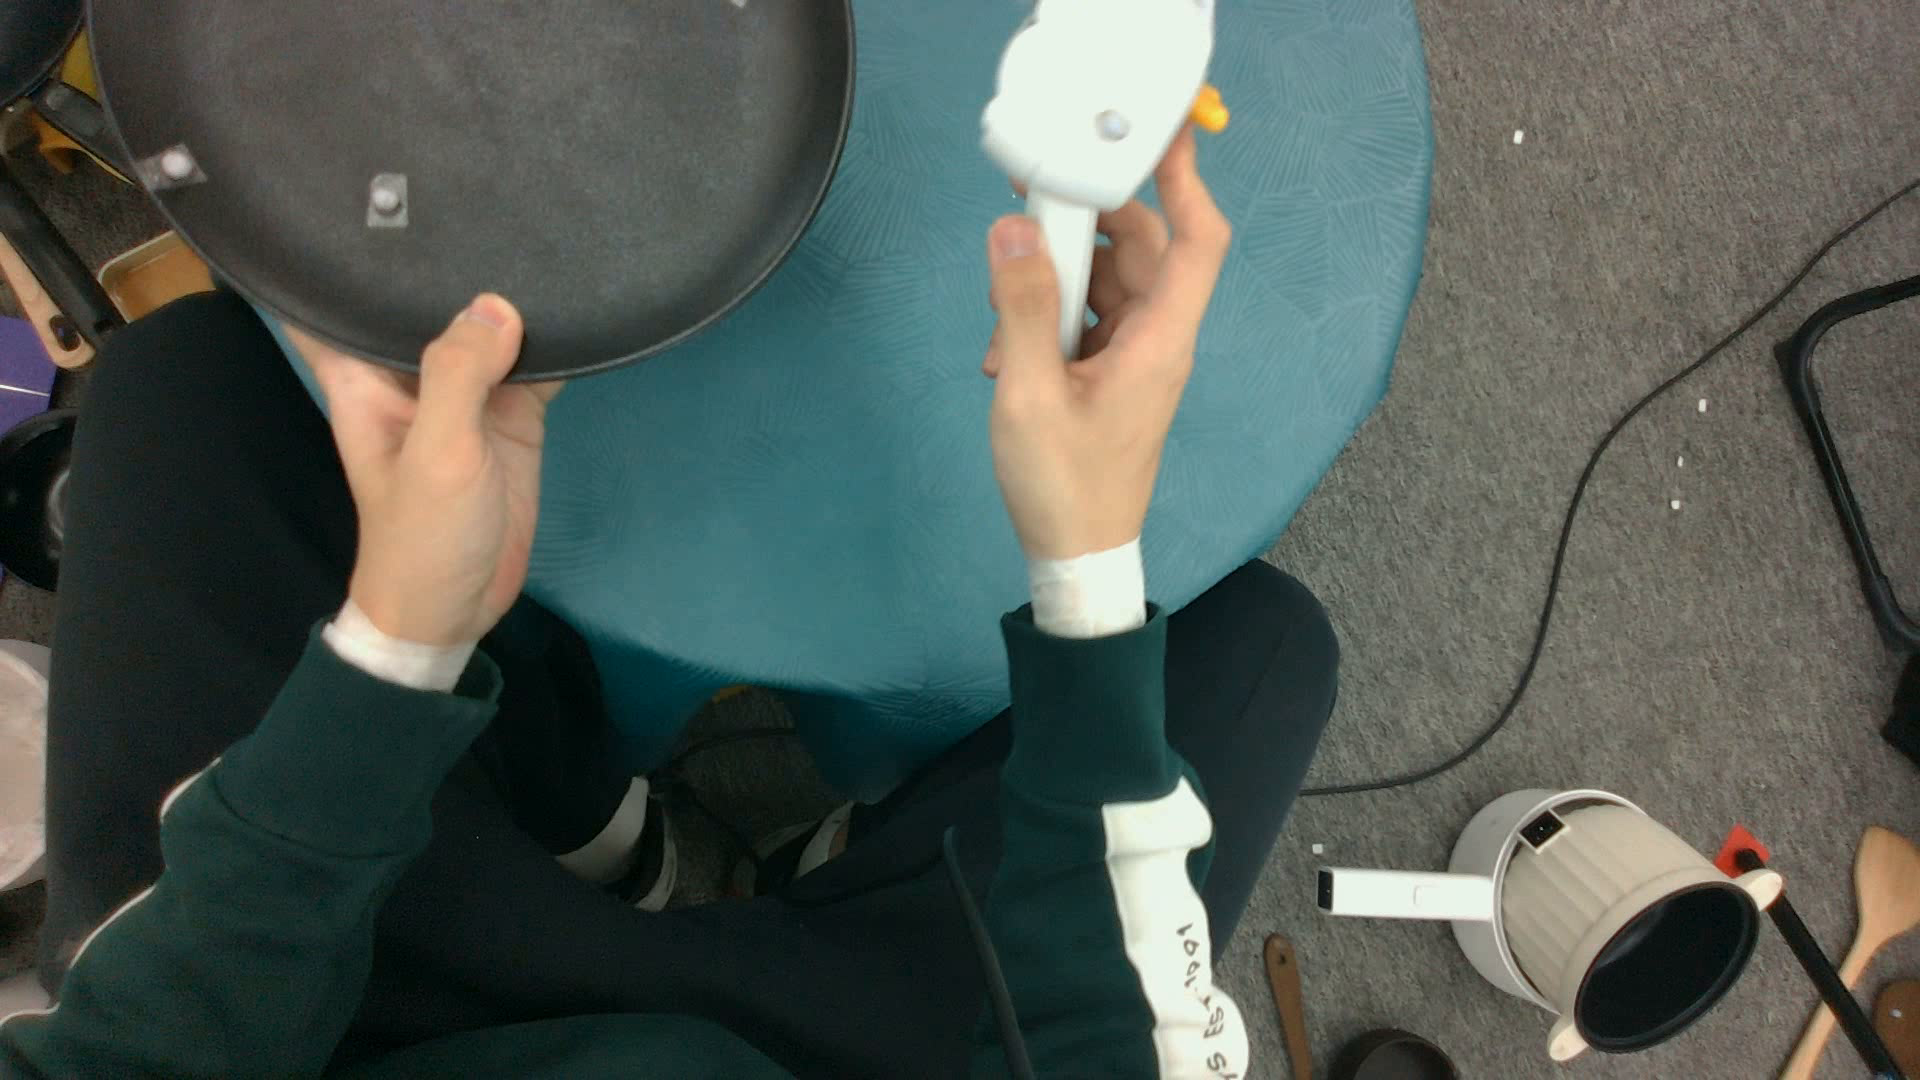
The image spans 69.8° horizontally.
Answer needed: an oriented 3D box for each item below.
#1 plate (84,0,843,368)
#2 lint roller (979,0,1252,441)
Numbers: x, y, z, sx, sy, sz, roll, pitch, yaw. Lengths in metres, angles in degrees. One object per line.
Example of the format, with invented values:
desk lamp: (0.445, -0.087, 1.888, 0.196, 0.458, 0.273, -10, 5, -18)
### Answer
plate: (-0.163, -0.178, 0.475, 0.245, 0.023, 0.244, 1, 85, -15)
lint roller: (0.034, -0.124, 0.490, 0.074, 0.193, 0.191, 16, 121, -14)
